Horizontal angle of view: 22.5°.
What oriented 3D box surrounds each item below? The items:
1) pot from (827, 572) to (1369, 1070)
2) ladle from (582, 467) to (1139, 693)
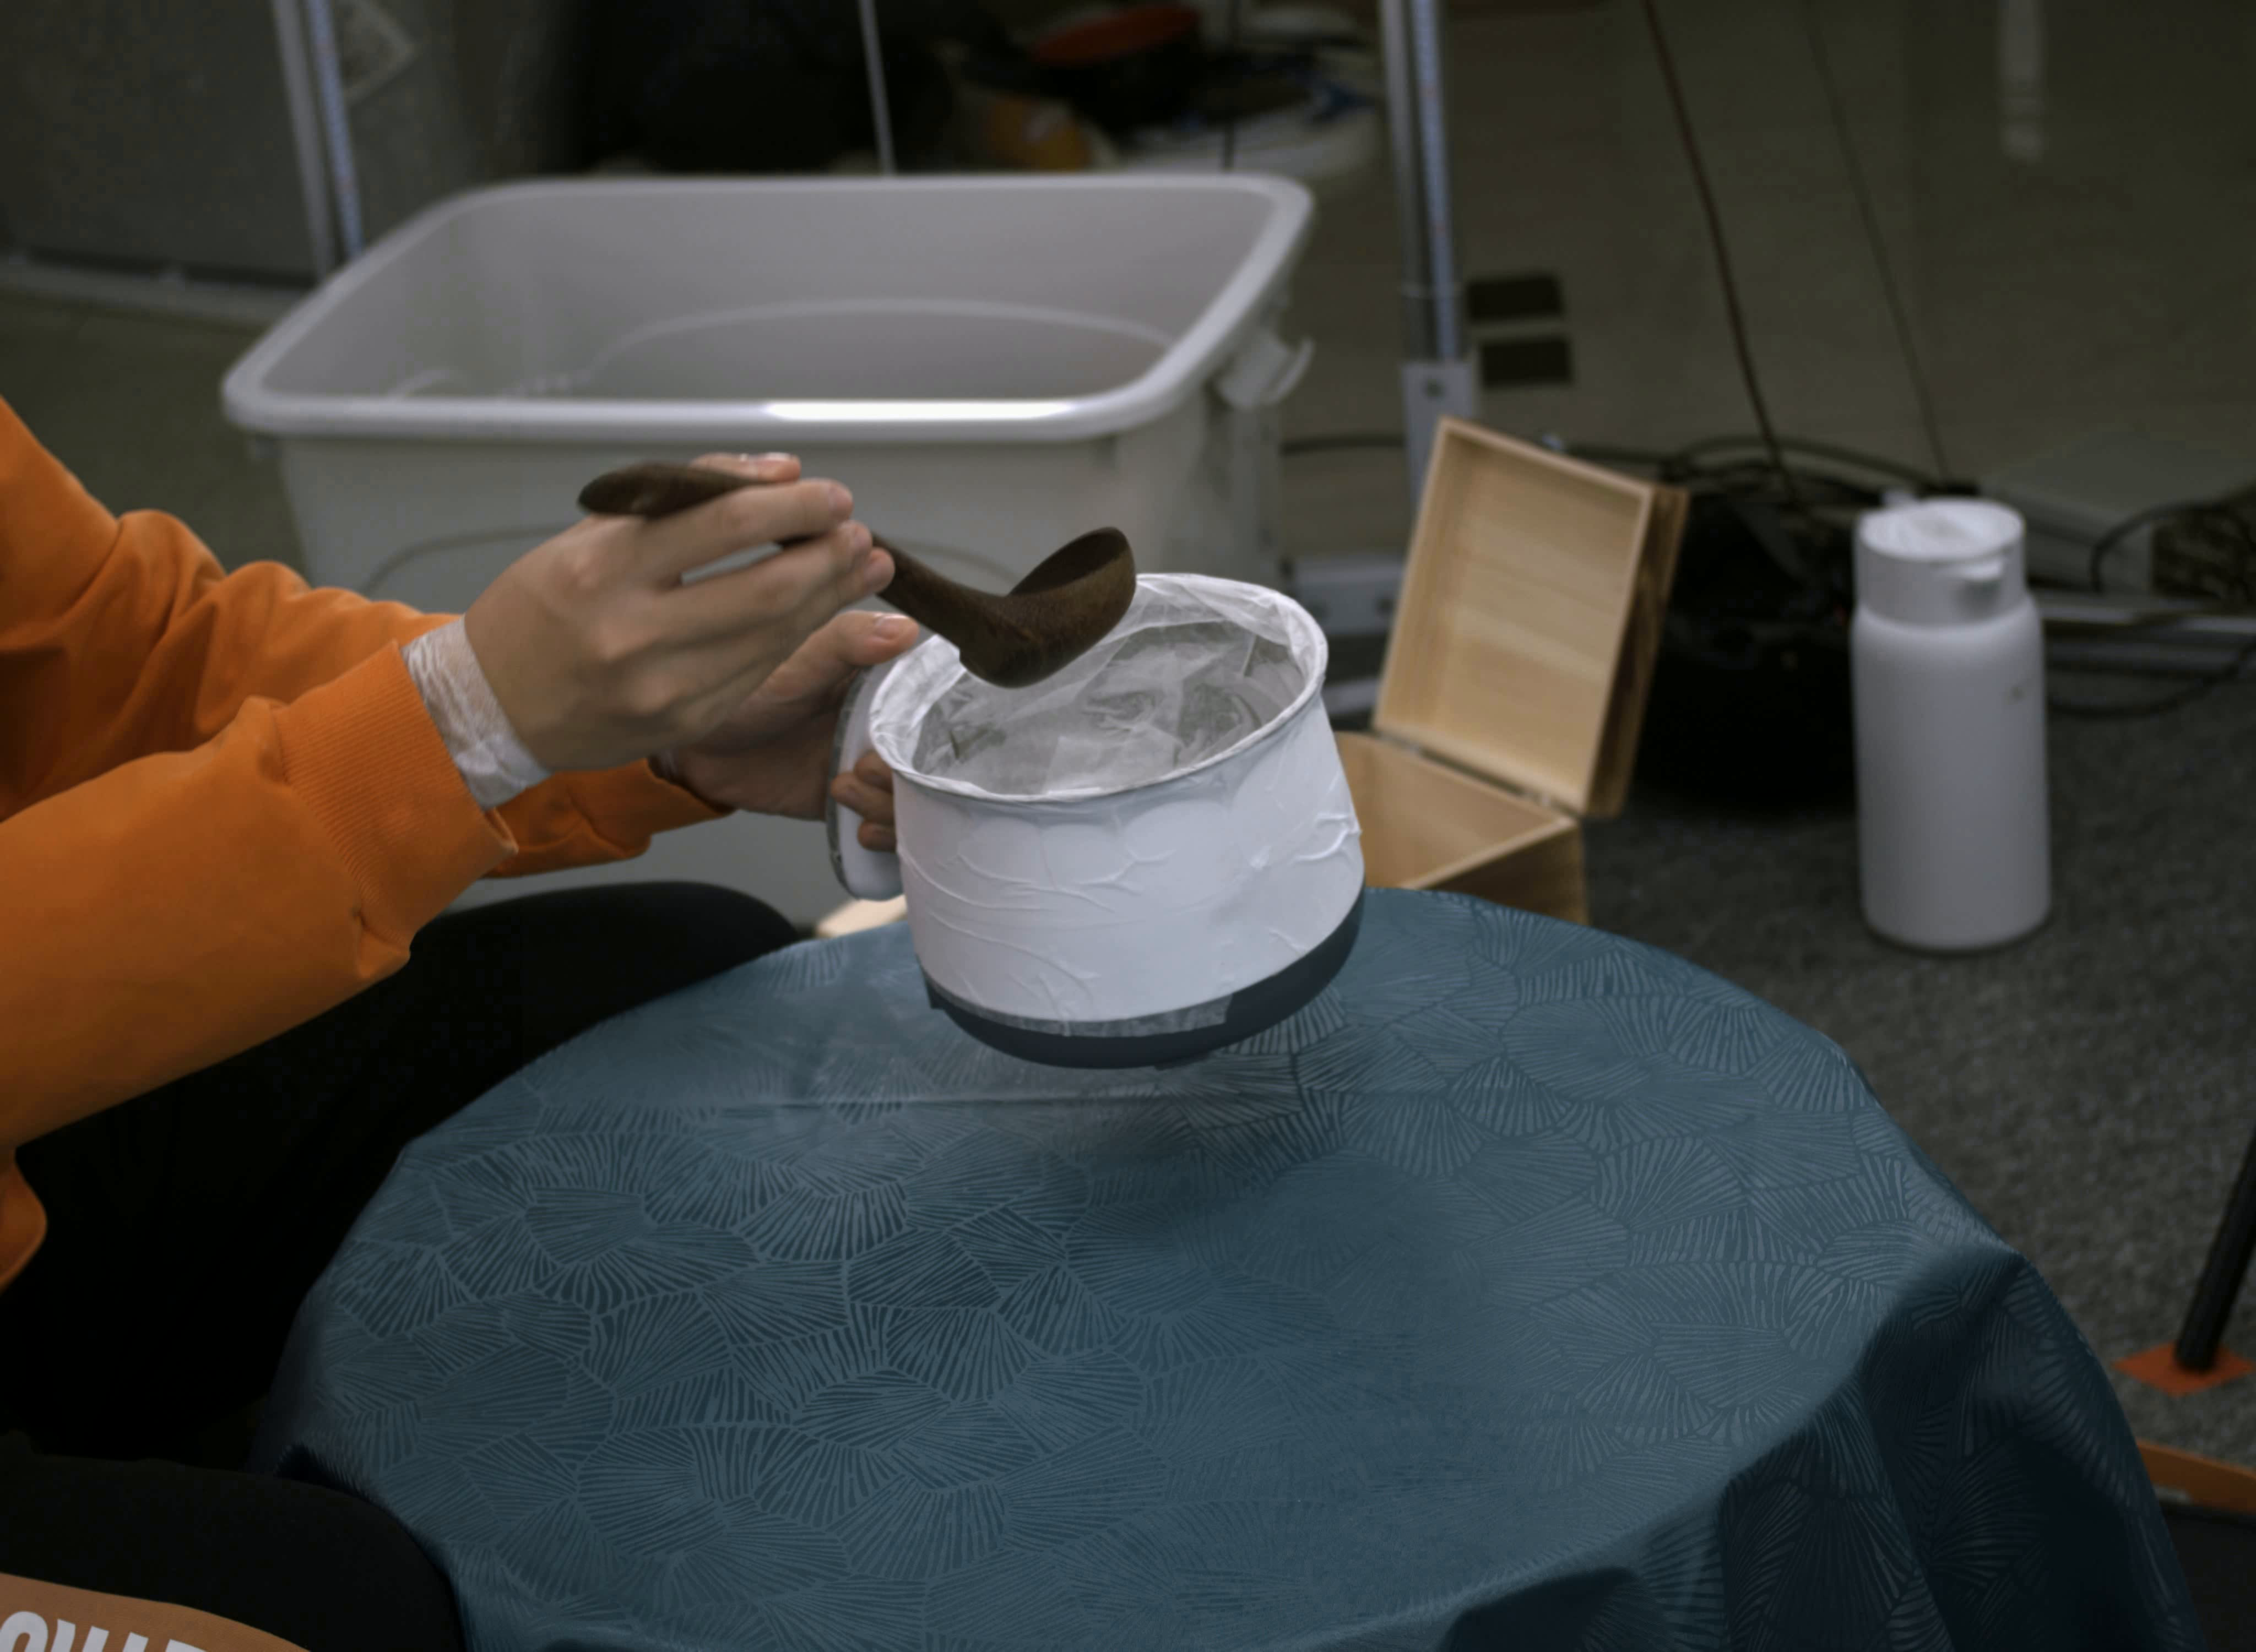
[{"bbox_3d":[-0.023,-0.004,2.182,0.232,0.139,0.176,11,35,33],"label":"pot"},{"bbox_3d":[-0.094,-0.102,1.924,0.276,0.076,0.070,20,42,-49],"label":"ladle"}]
